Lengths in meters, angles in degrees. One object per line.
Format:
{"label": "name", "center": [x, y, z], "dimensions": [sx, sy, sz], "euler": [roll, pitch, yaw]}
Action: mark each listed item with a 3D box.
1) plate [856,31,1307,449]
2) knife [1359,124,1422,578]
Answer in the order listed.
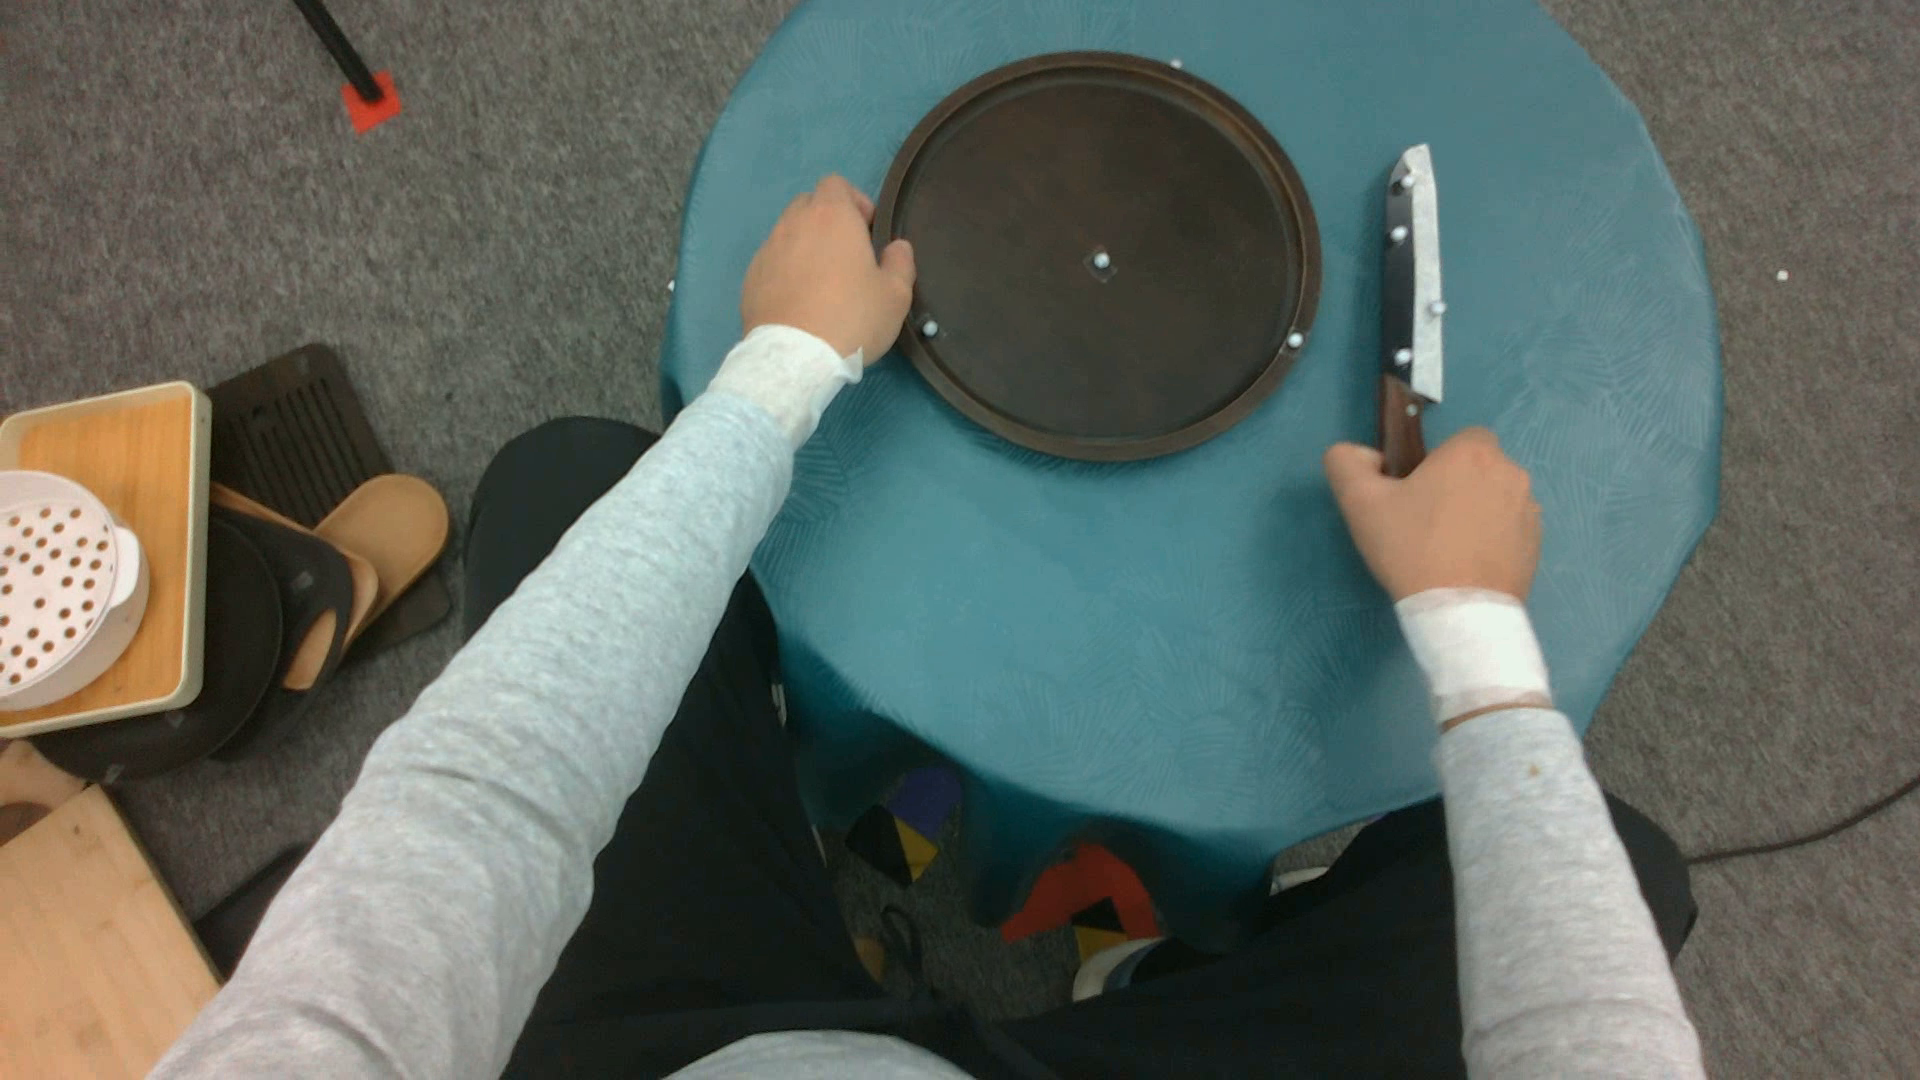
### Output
{"label": "plate", "center": [0.068, -0.171, 0.774], "dimensions": [0.255, 0.029, 0.255], "euler": [1, 77, -5]}
{"label": "knife", "center": [0.241, -0.113, 0.765], "dimensions": [0.050, 0.020, 0.290], "euler": [21, 66, -30]}
